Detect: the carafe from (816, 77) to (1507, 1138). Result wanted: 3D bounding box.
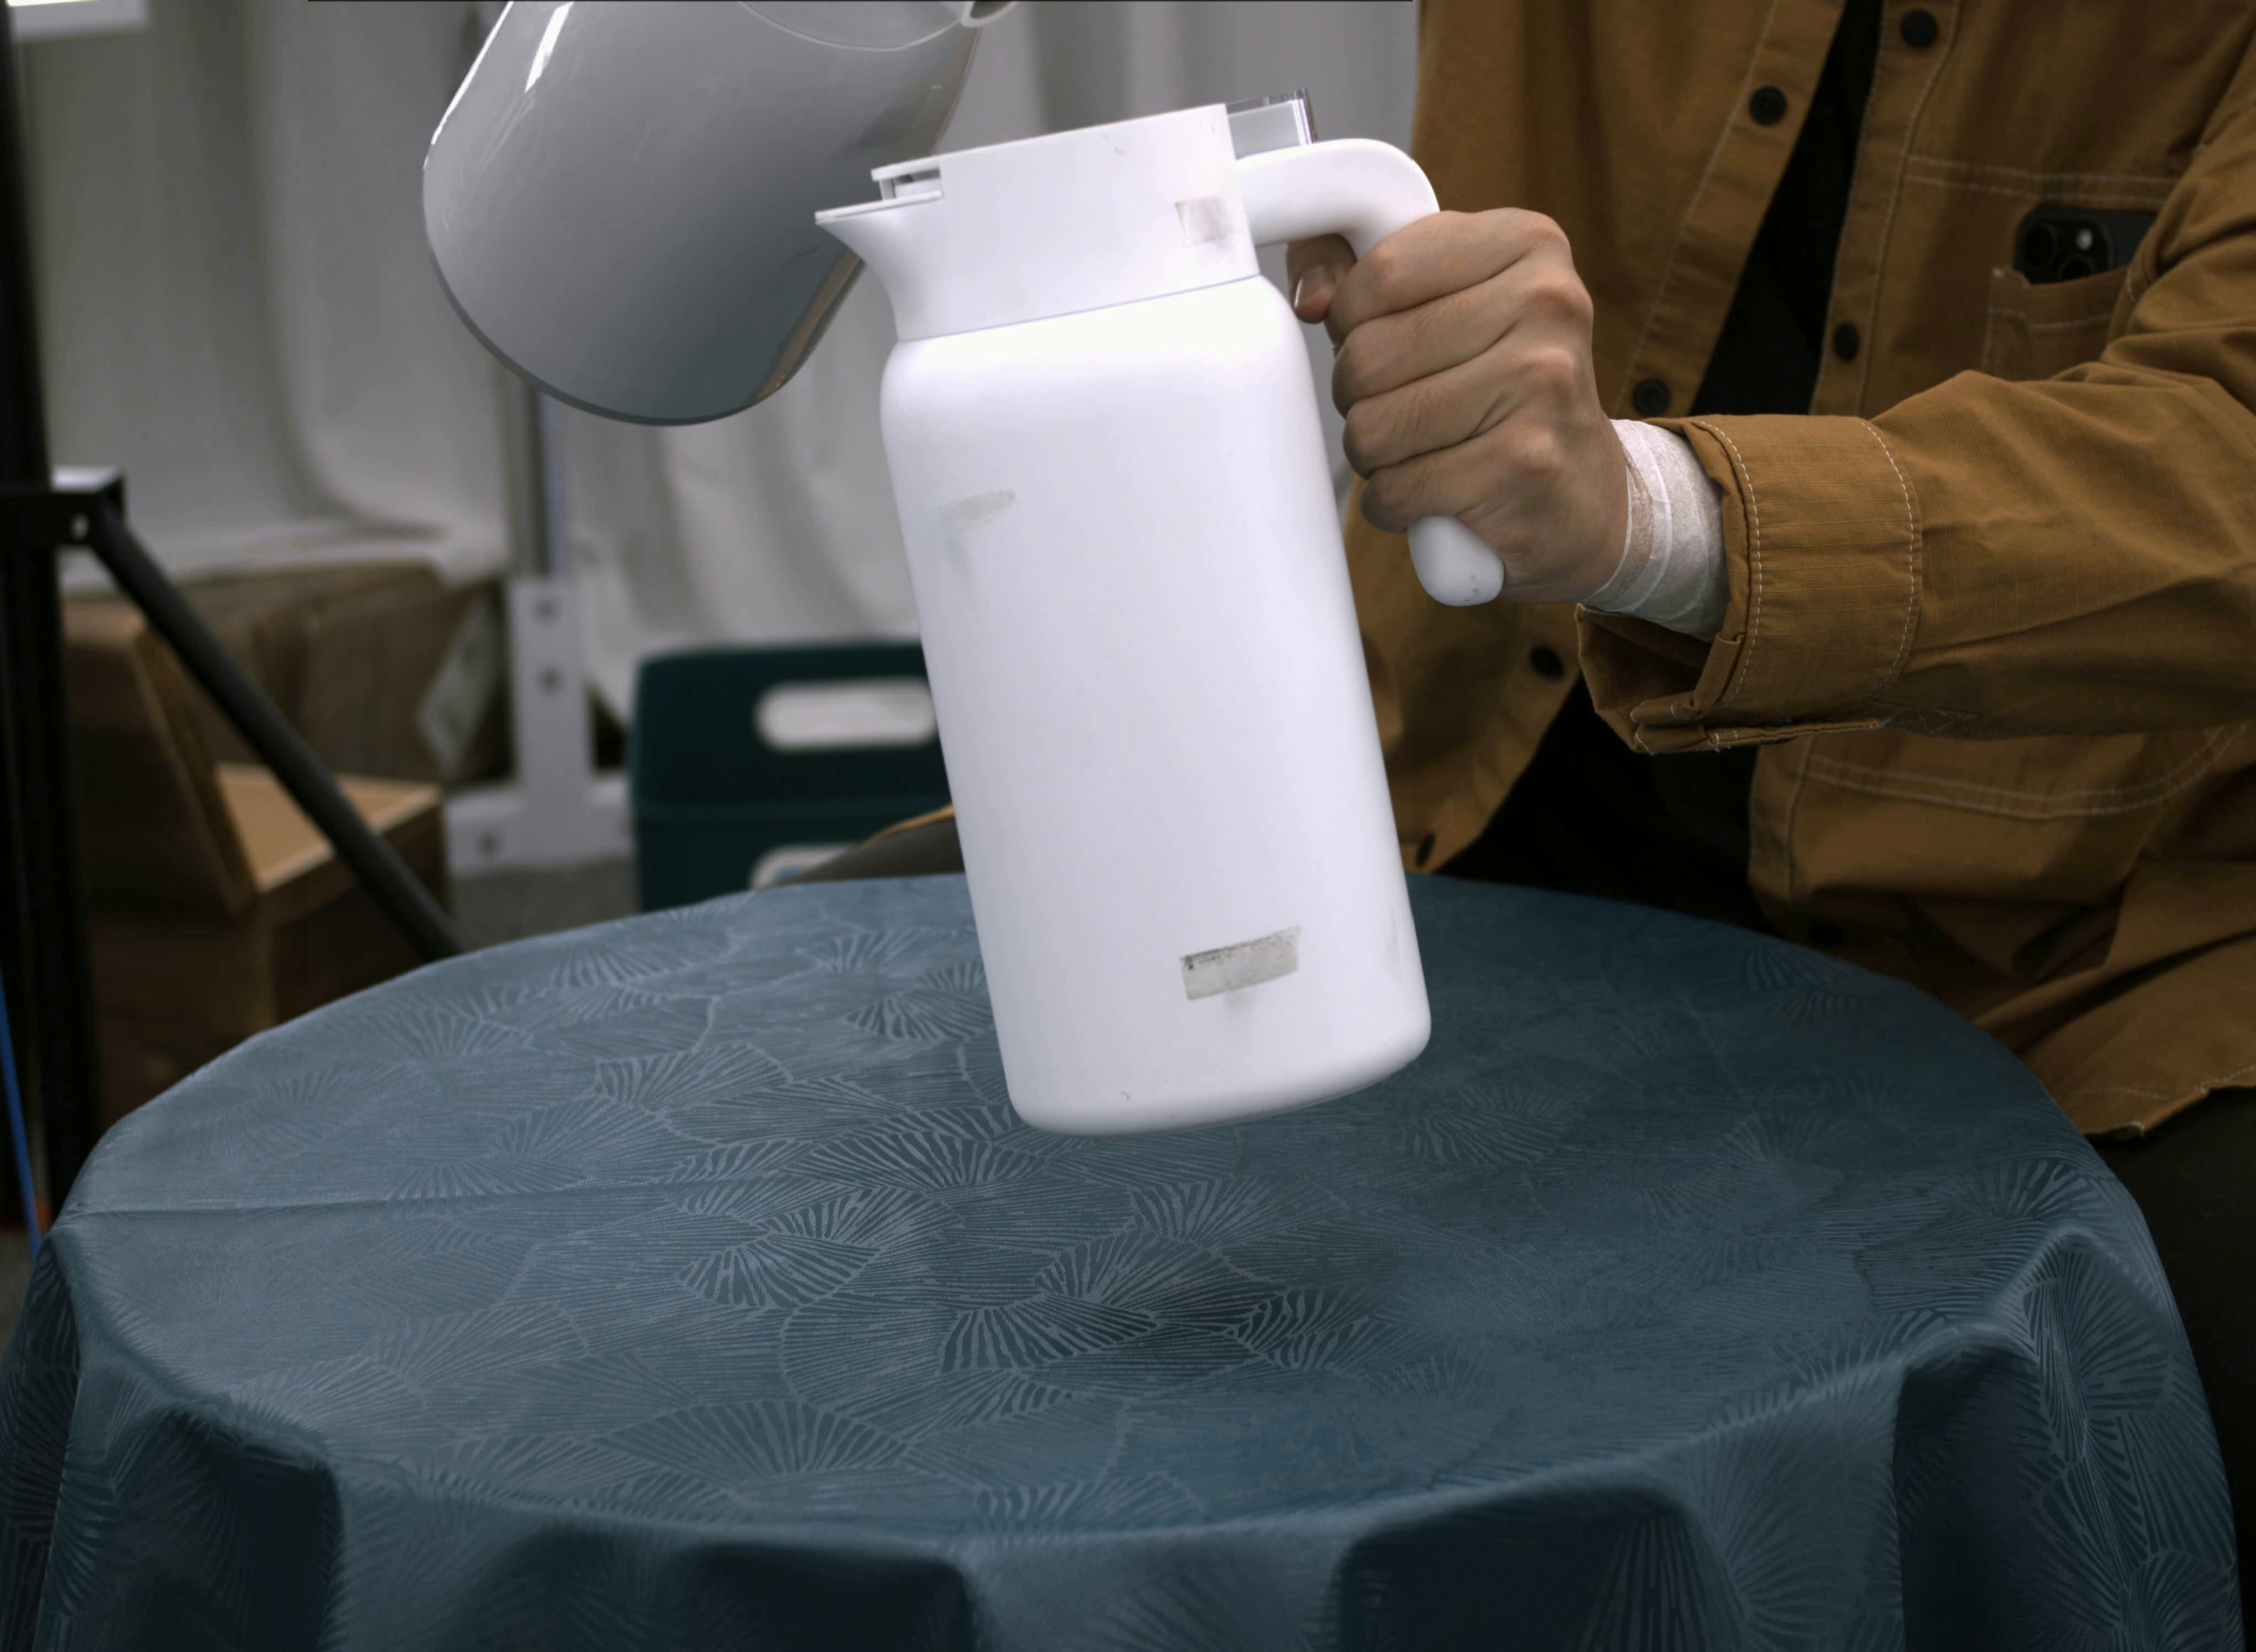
[{"bbox_3d":[0.019,-0.061,1.433,0.170,0.270,0.125,-12,4,-18],"label":"carafe"}]

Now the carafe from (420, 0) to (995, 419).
[{"bbox_3d":[-0.115,-0.250,1.533,0.130,0.169,0.250,-25,-14,-33],"label":"carafe"}]
